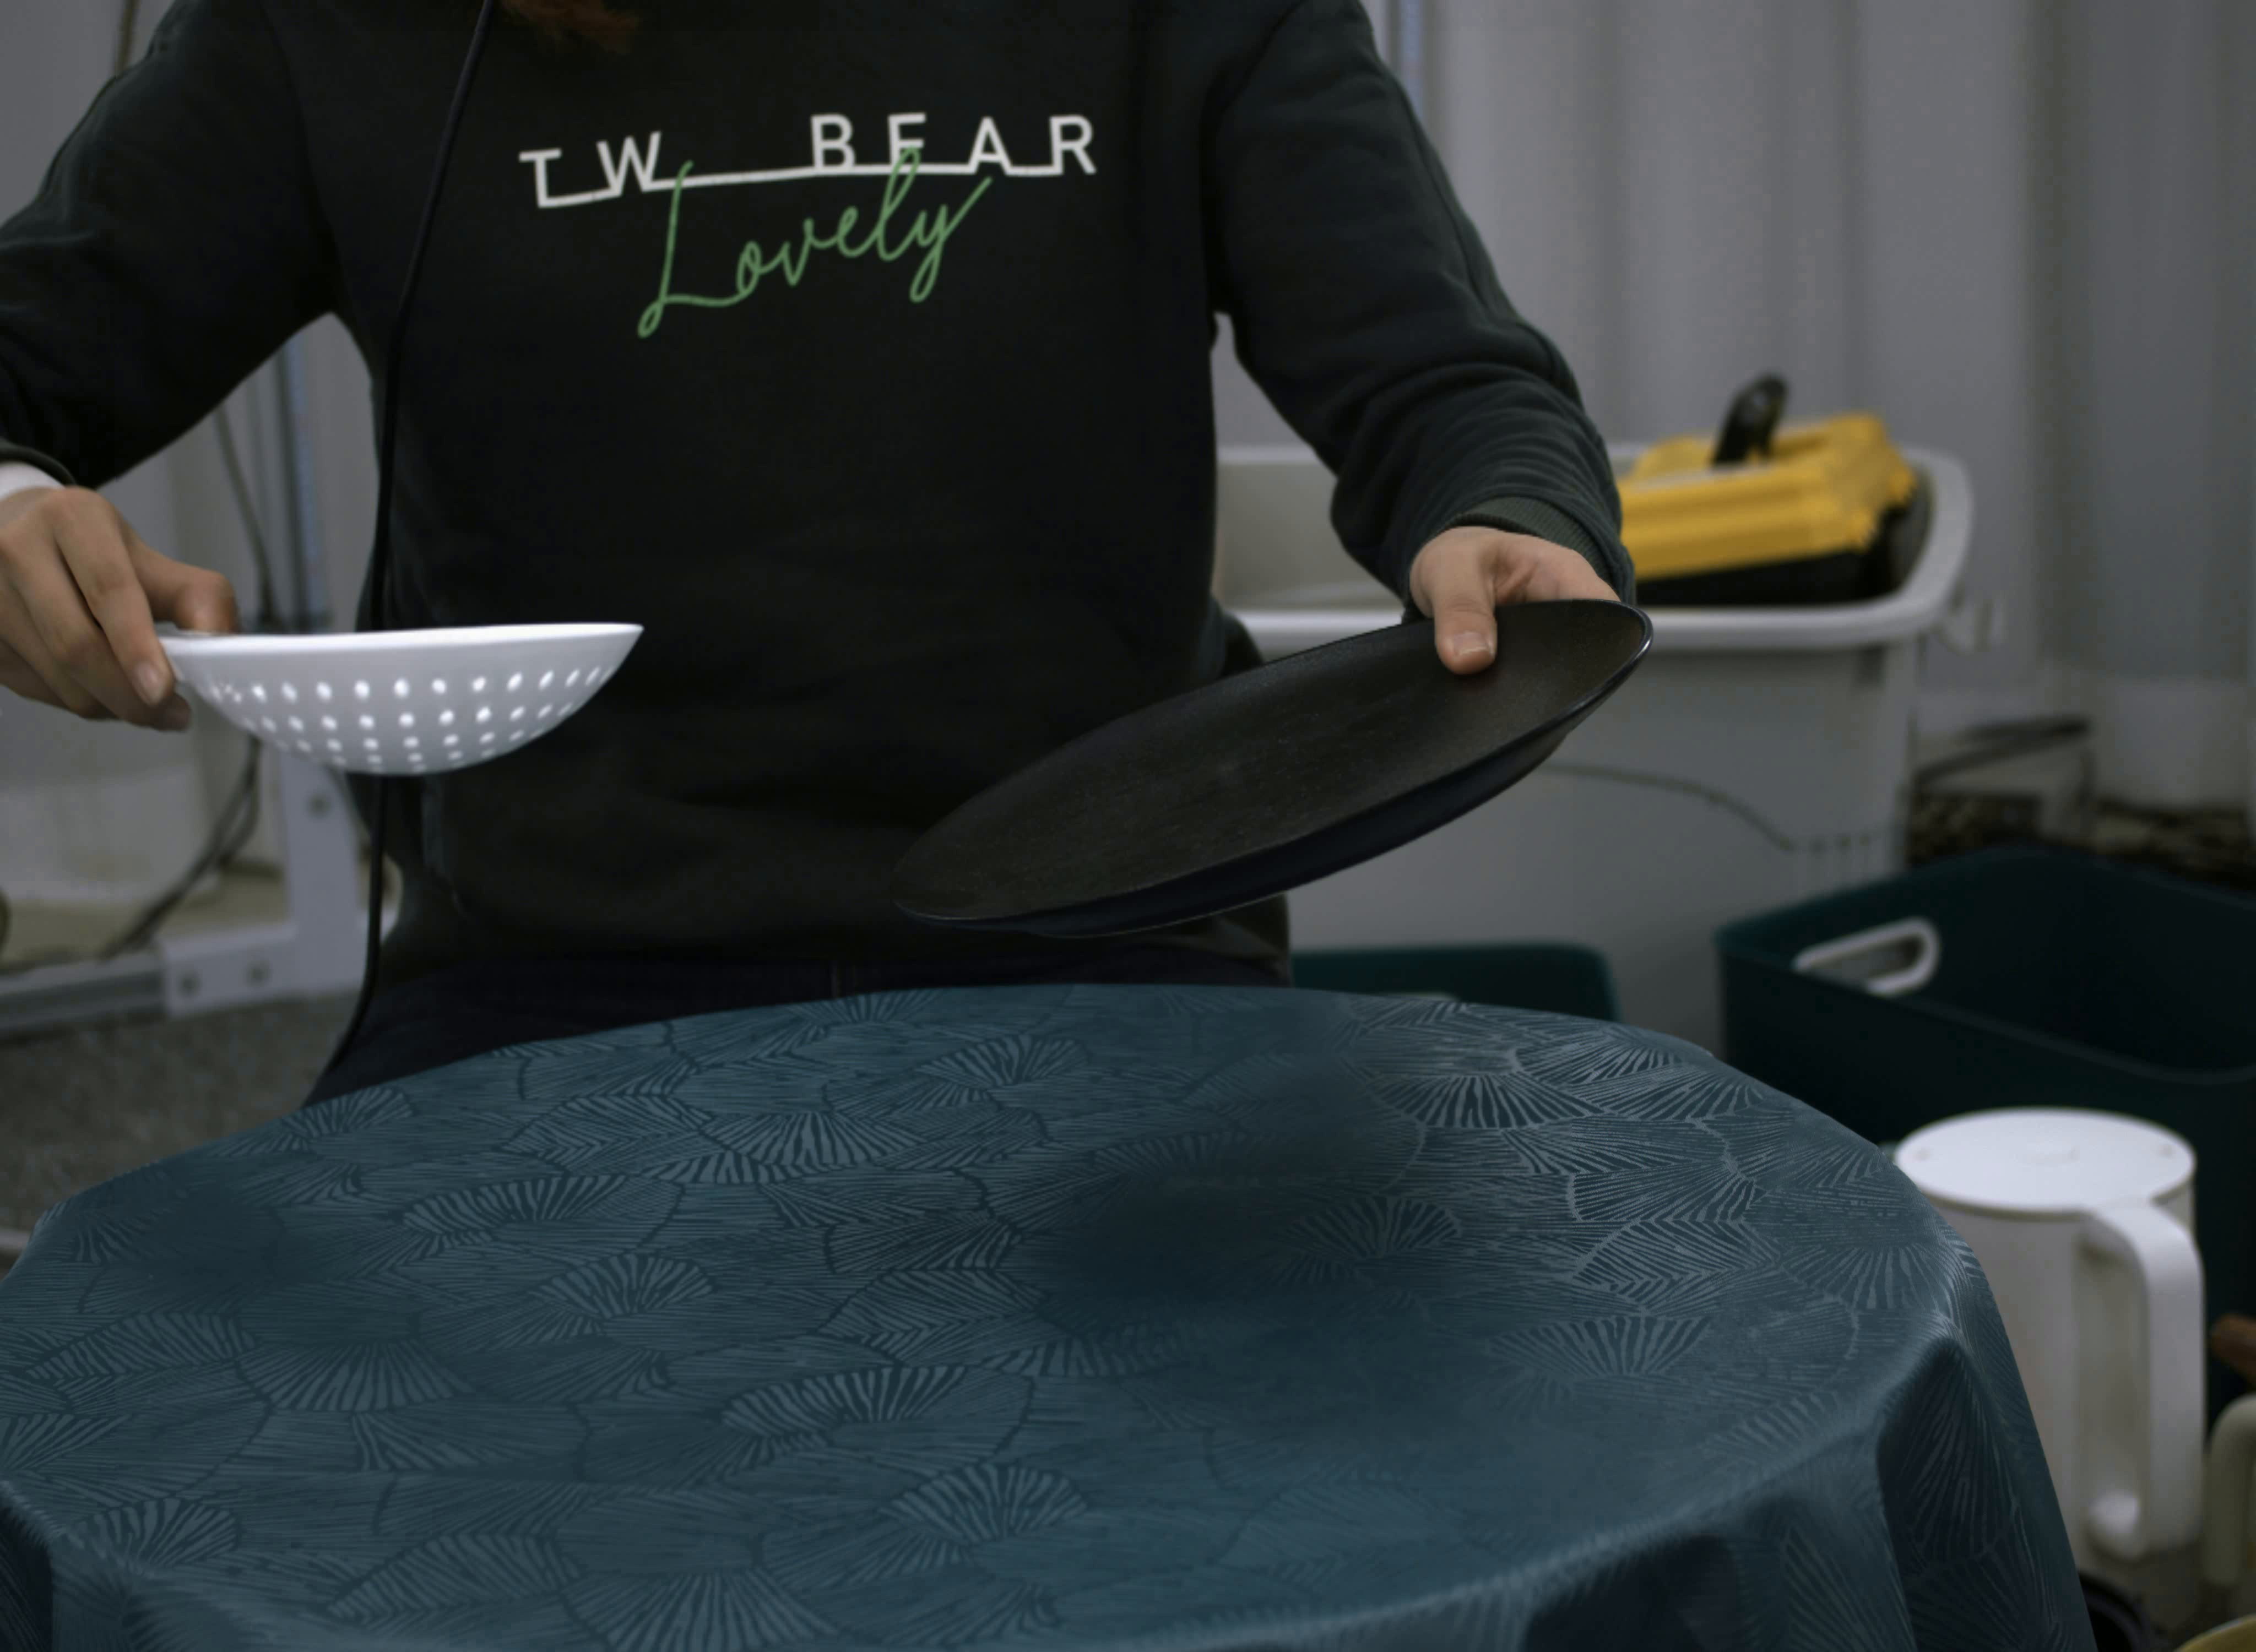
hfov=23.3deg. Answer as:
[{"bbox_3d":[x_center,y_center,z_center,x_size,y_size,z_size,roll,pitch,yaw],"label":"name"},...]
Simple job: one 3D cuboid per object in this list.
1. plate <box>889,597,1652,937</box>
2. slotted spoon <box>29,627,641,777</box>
[{"bbox_3d":[0.045,-0.013,1.649,0.244,0.023,0.246,-19,13,4],"label":"plate"},{"bbox_3d":[-0.263,-0.050,1.664,0.135,0.046,0.352,-5,9,-31],"label":"slotted spoon"}]
